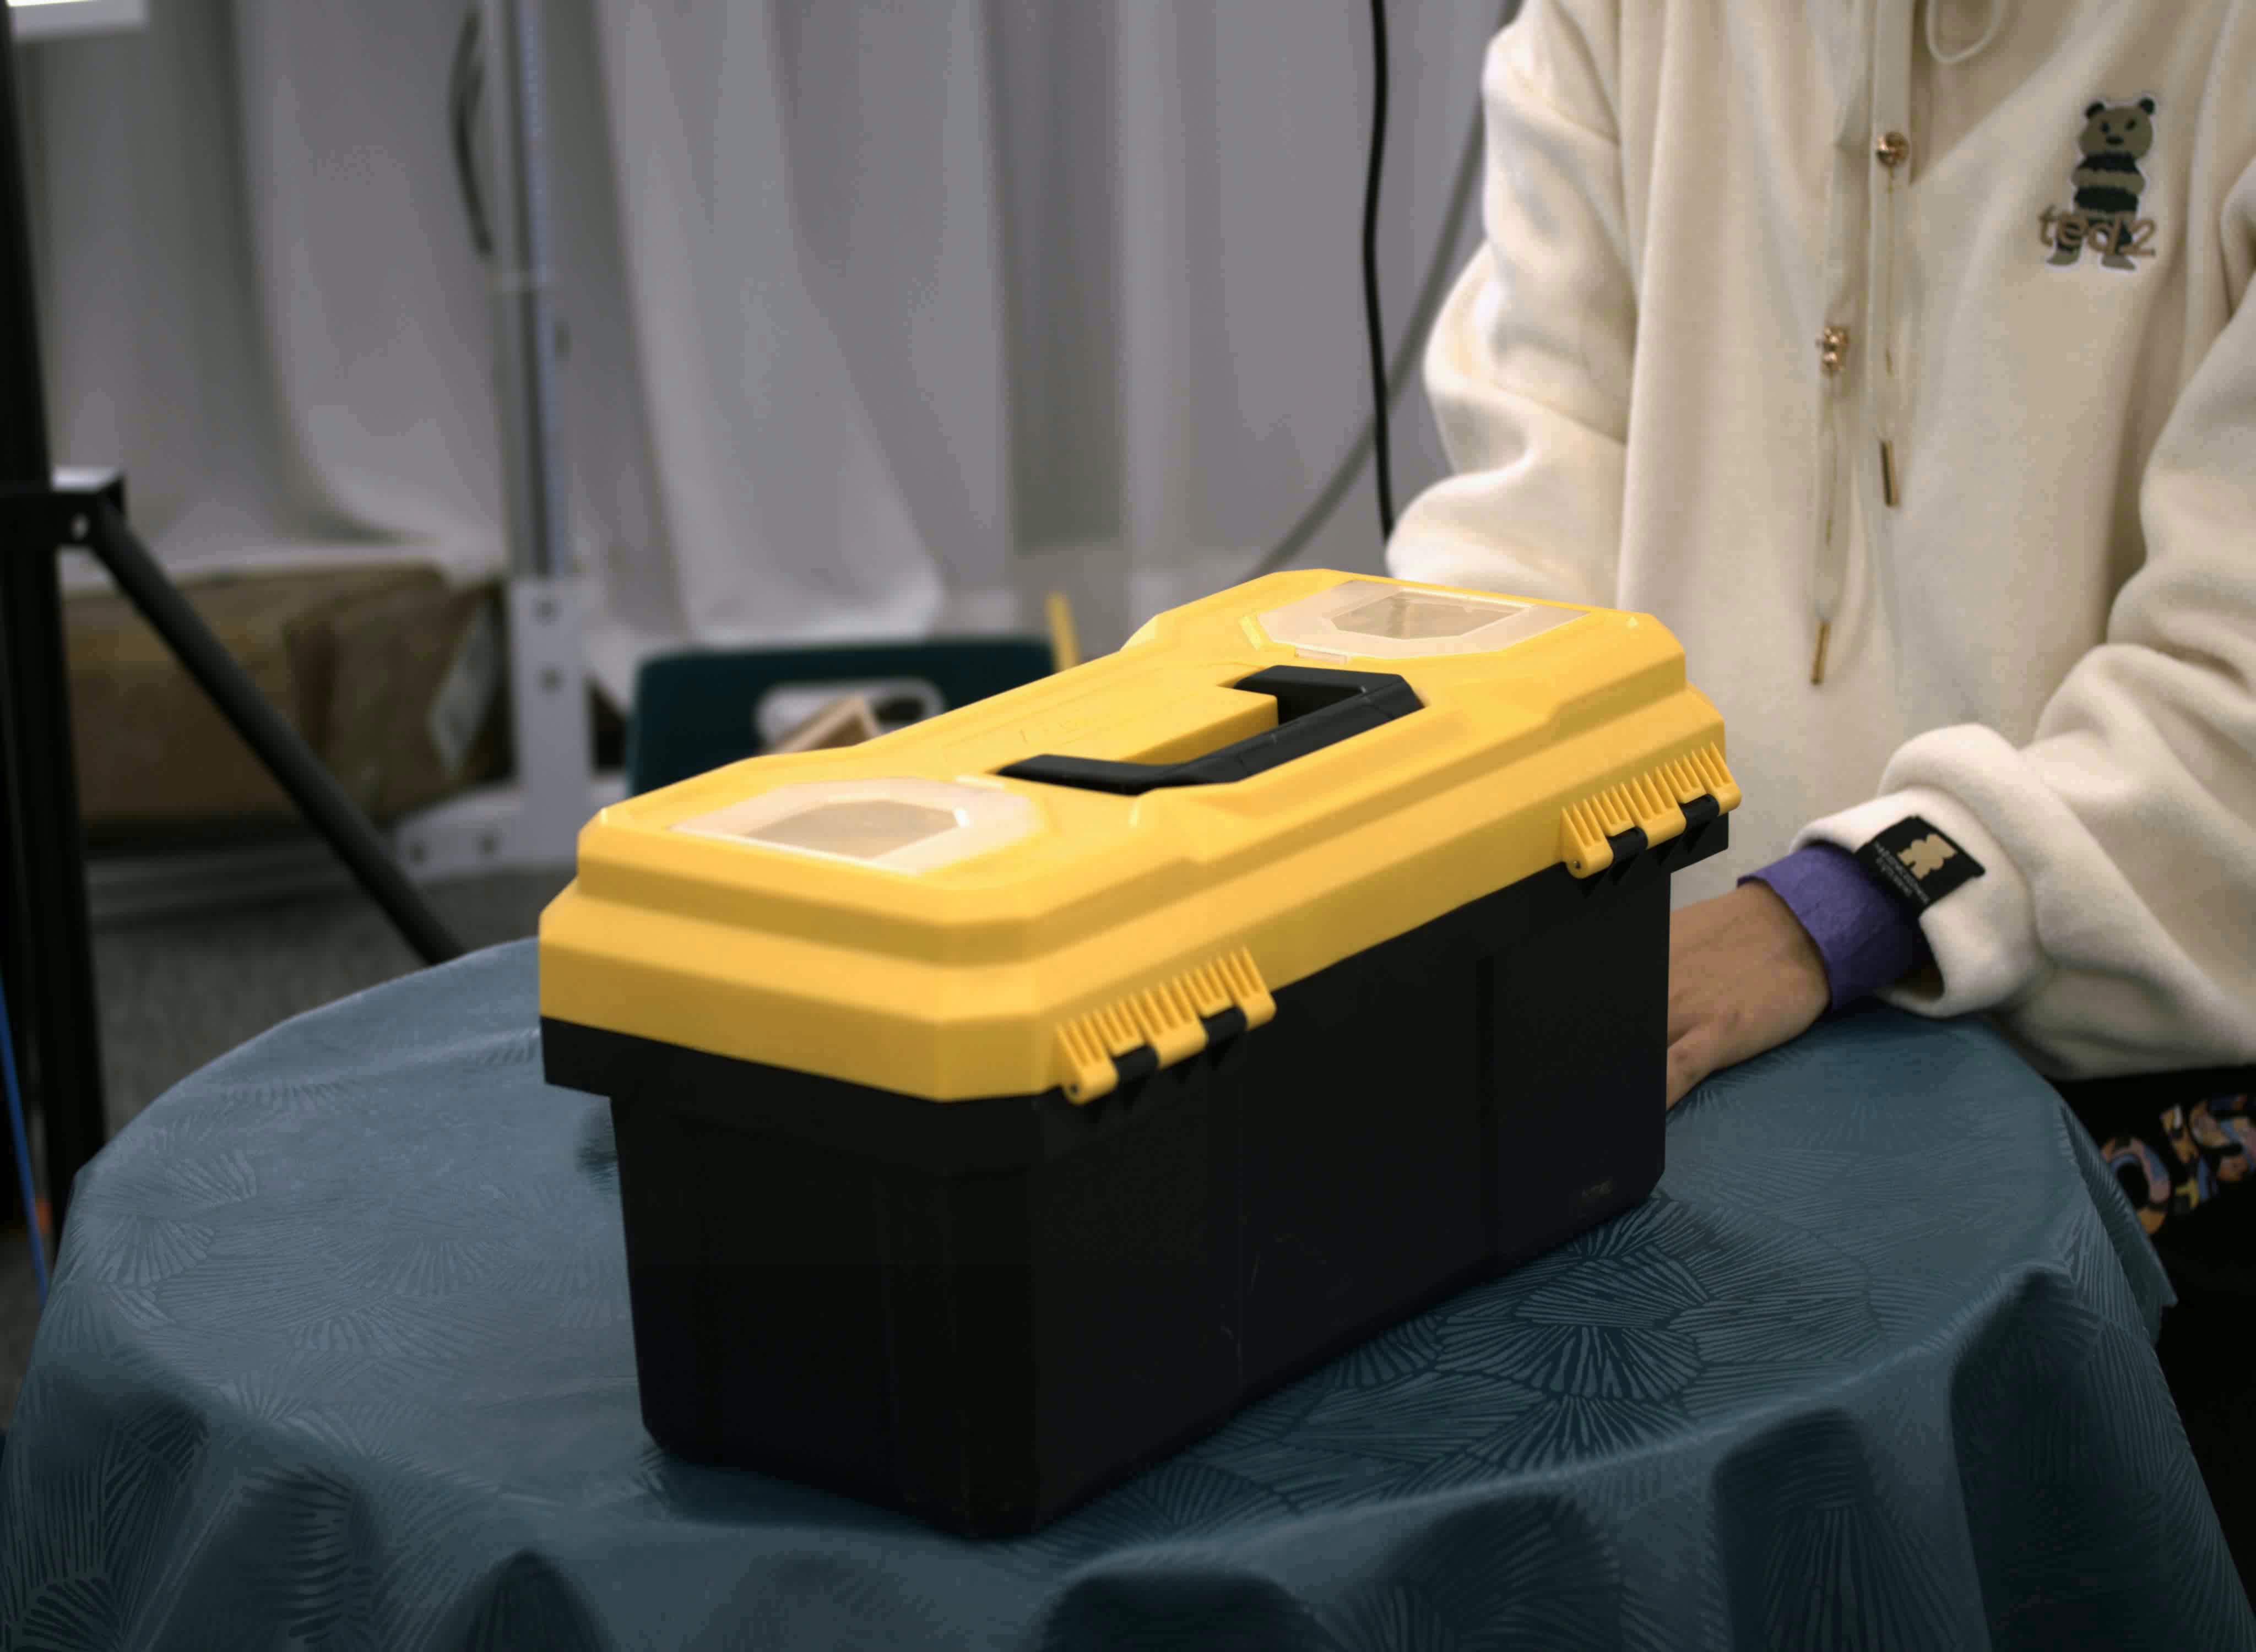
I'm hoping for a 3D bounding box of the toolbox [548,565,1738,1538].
[{"bbox_3d":[0.012,0.051,1.438,0.185,0.173,0.344,10,20,38],"label":"toolbox"}]

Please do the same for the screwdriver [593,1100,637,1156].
[{"bbox_3d":[-0.127,0.066,1.687,0.034,0.033,0.188,4,22,21],"label":"screwdriver"}]
